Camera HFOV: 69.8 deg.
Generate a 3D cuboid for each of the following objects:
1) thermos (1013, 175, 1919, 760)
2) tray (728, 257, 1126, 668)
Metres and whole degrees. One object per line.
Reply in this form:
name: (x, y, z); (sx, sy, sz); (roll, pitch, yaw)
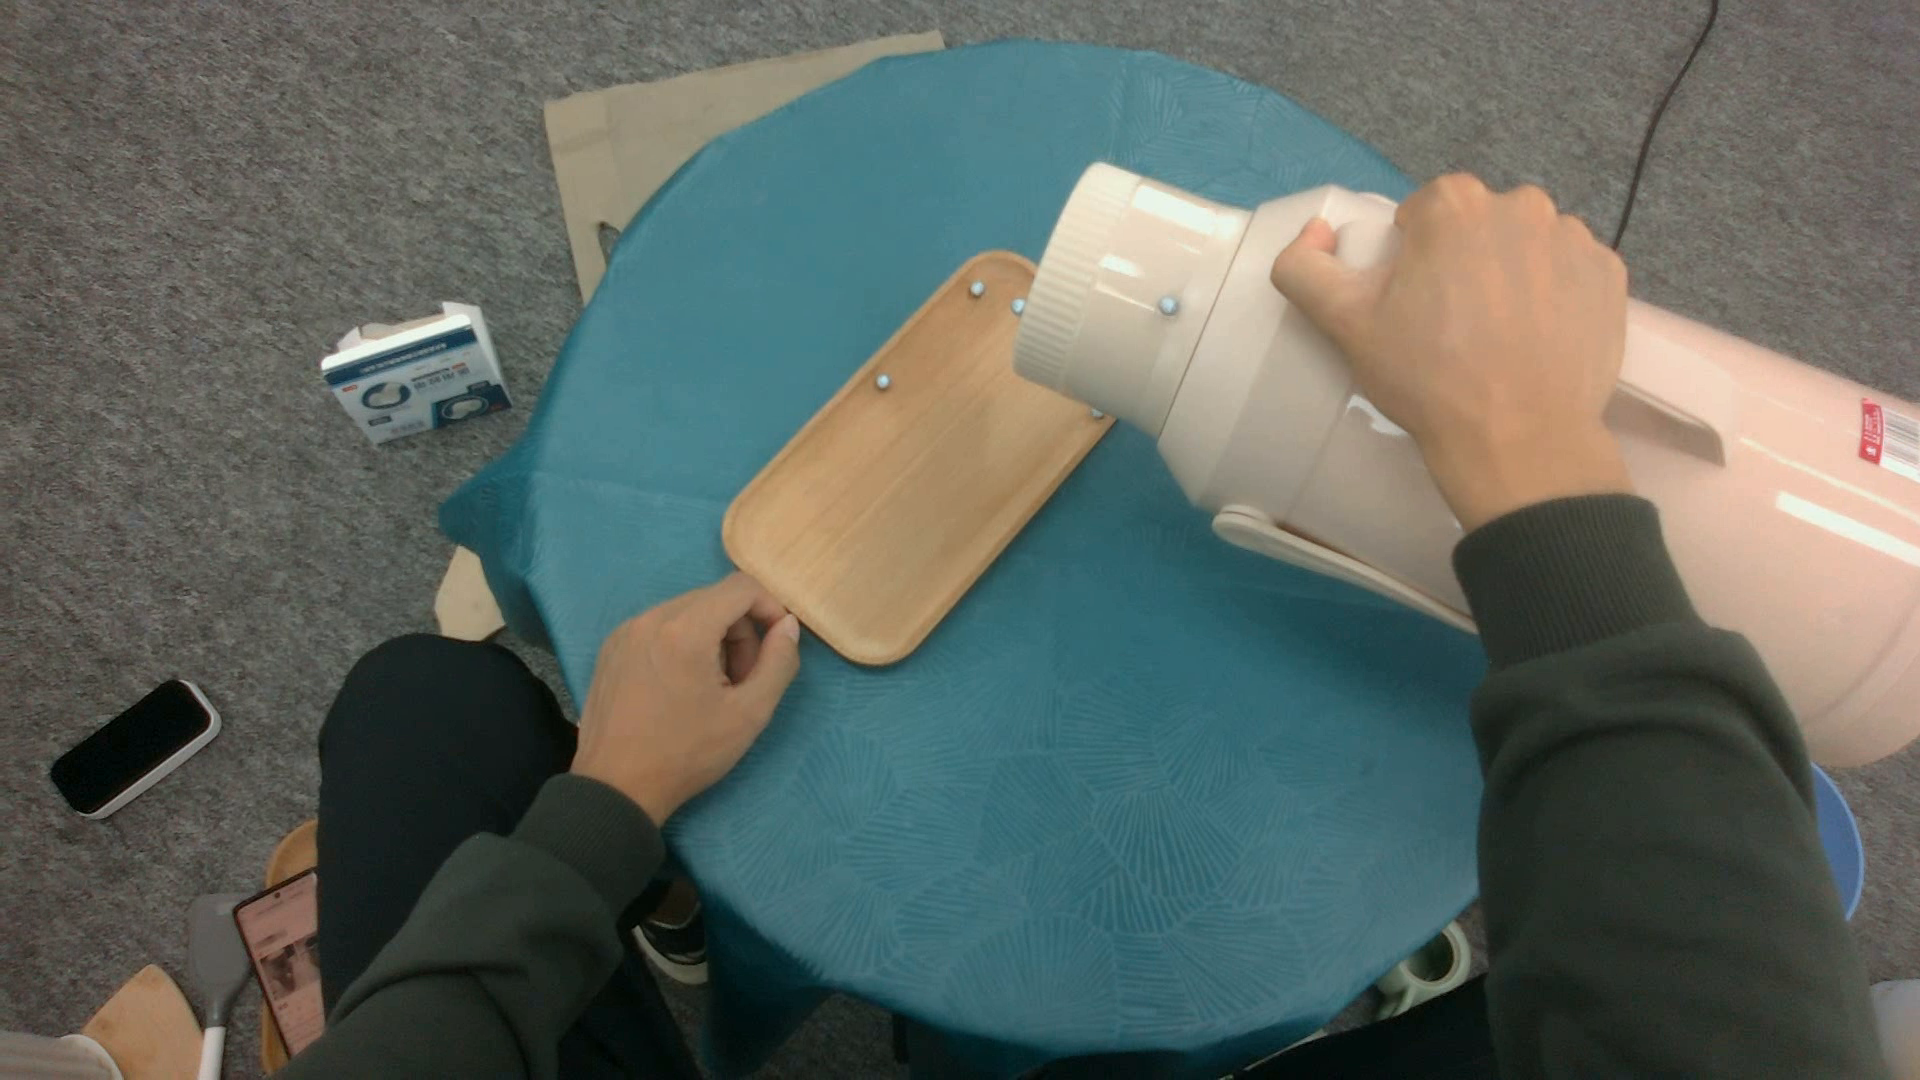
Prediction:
thermos: (0.228, -0.052, 0.622); (0.406, 0.206, 0.176); (23, 76, 7)
tray: (-0.009, -0.048, 0.776); (0.130, 0.023, 0.251); (39, 72, 11)
